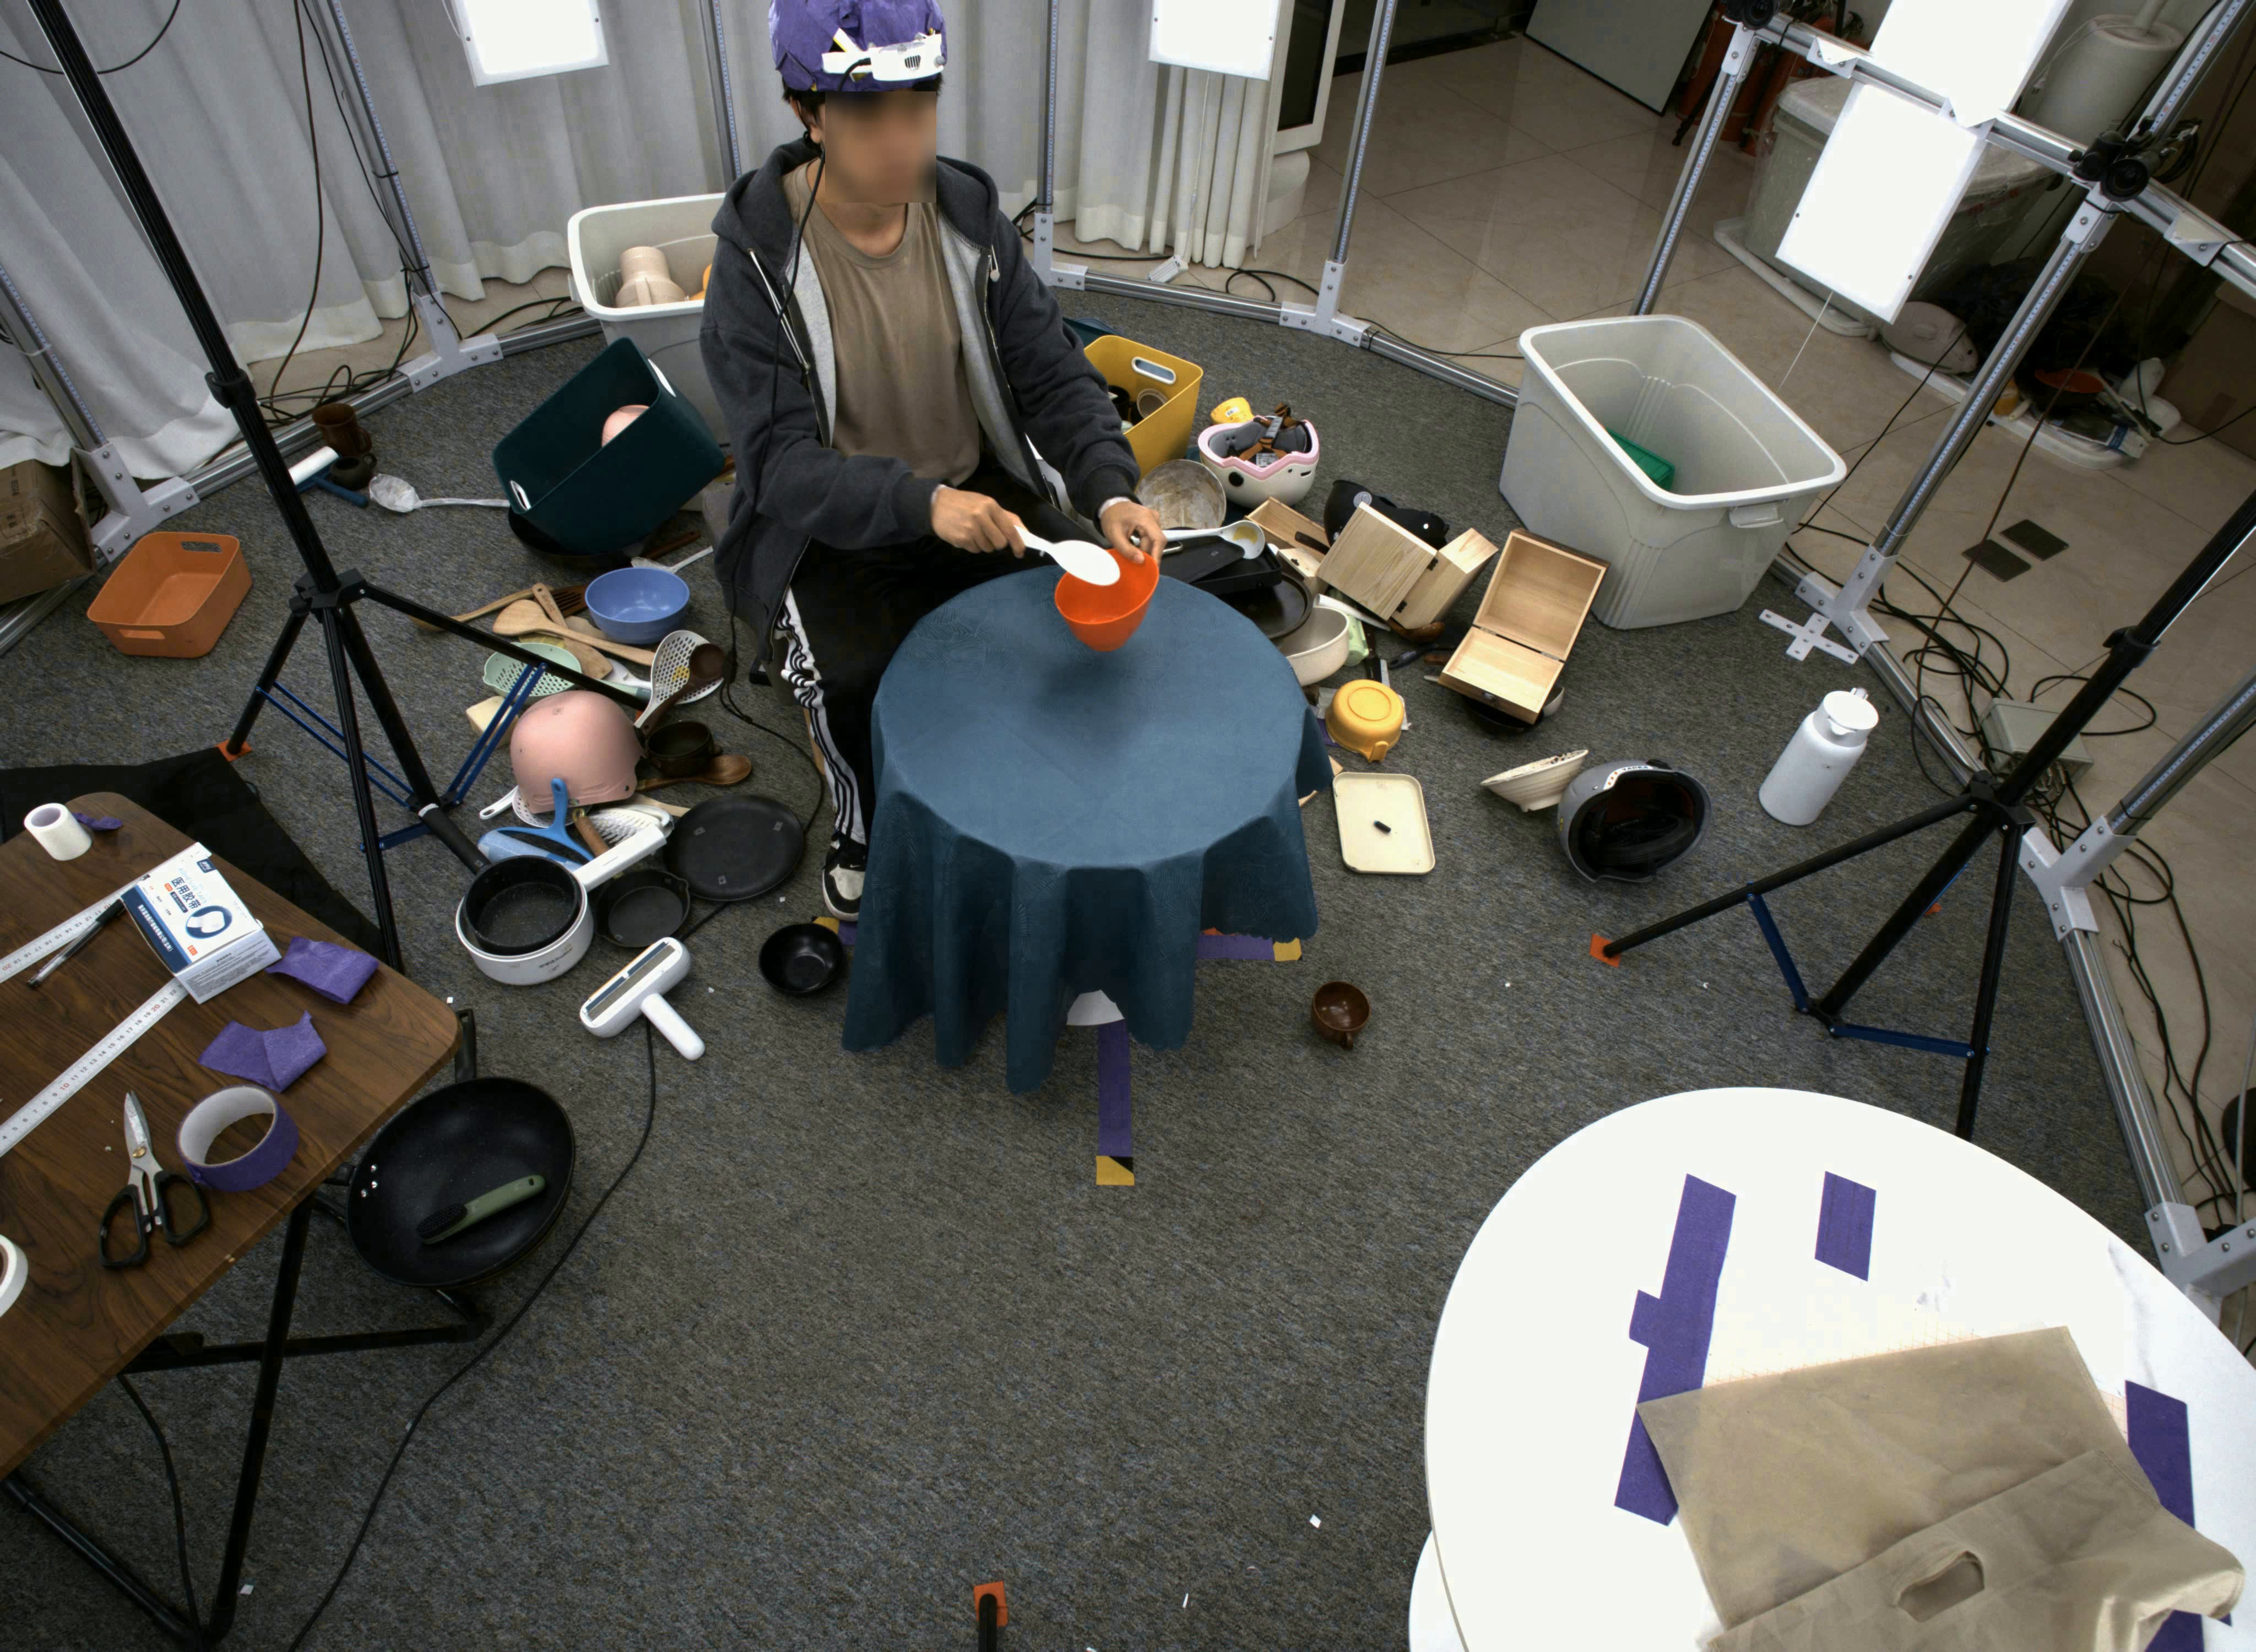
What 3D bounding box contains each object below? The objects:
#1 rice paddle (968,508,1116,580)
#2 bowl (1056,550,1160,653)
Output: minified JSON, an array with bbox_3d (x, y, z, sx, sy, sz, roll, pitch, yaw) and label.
[{"bbox_3d":[-0.111,-0.378,1.722,0.204,0.029,0.070,16,55,-12],"label":"rice paddle"},{"bbox_3d":[-0.022,-0.302,1.791,0.148,0.102,0.152,-5,50,6],"label":"bowl"}]
